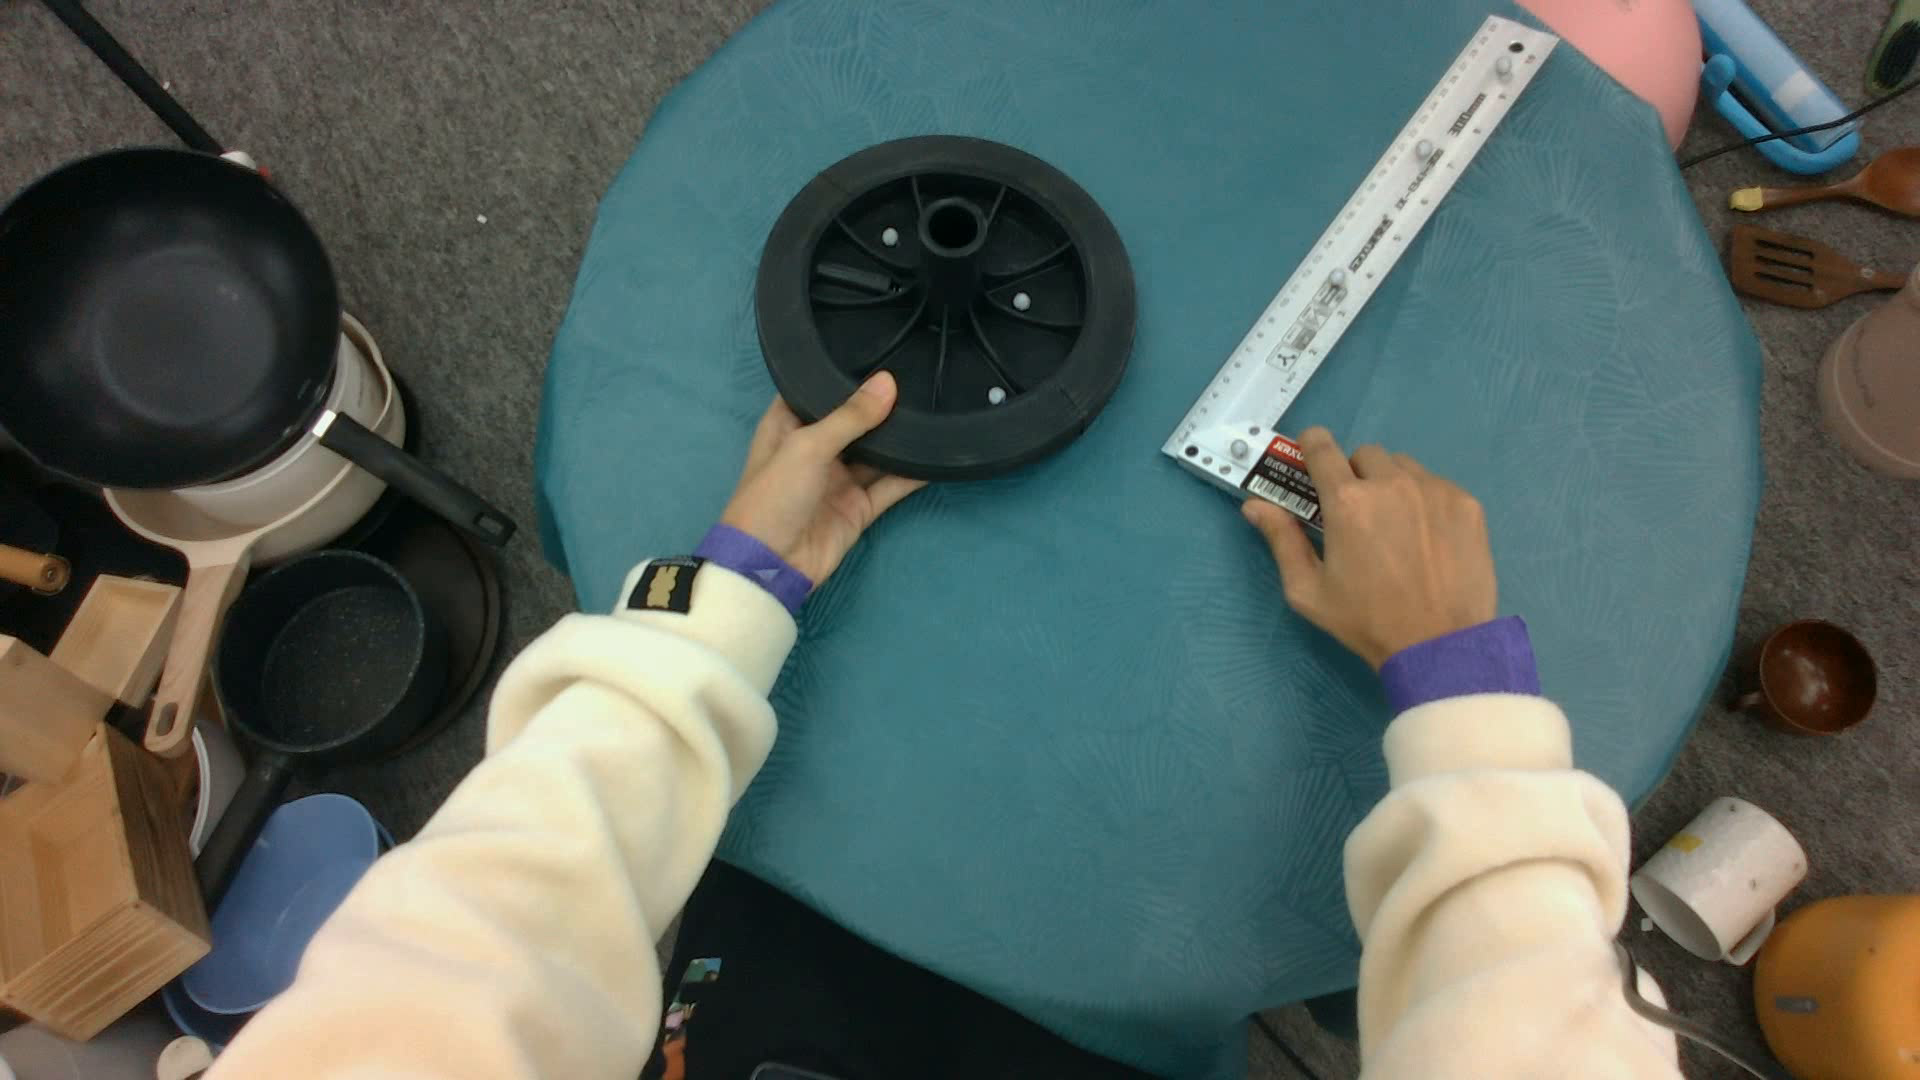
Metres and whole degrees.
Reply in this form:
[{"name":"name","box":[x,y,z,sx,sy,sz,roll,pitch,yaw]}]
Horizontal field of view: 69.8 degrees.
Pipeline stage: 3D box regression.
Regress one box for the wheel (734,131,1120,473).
[{"name":"wheel","box":[-0.015,-0.129,0.660,0.190,0.079,0.188,-7,68,-7]}]

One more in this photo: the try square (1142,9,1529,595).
[{"name":"try square","box":[0.238,-0.132,0.682,0.152,0.016,0.313,32,75,23]}]
